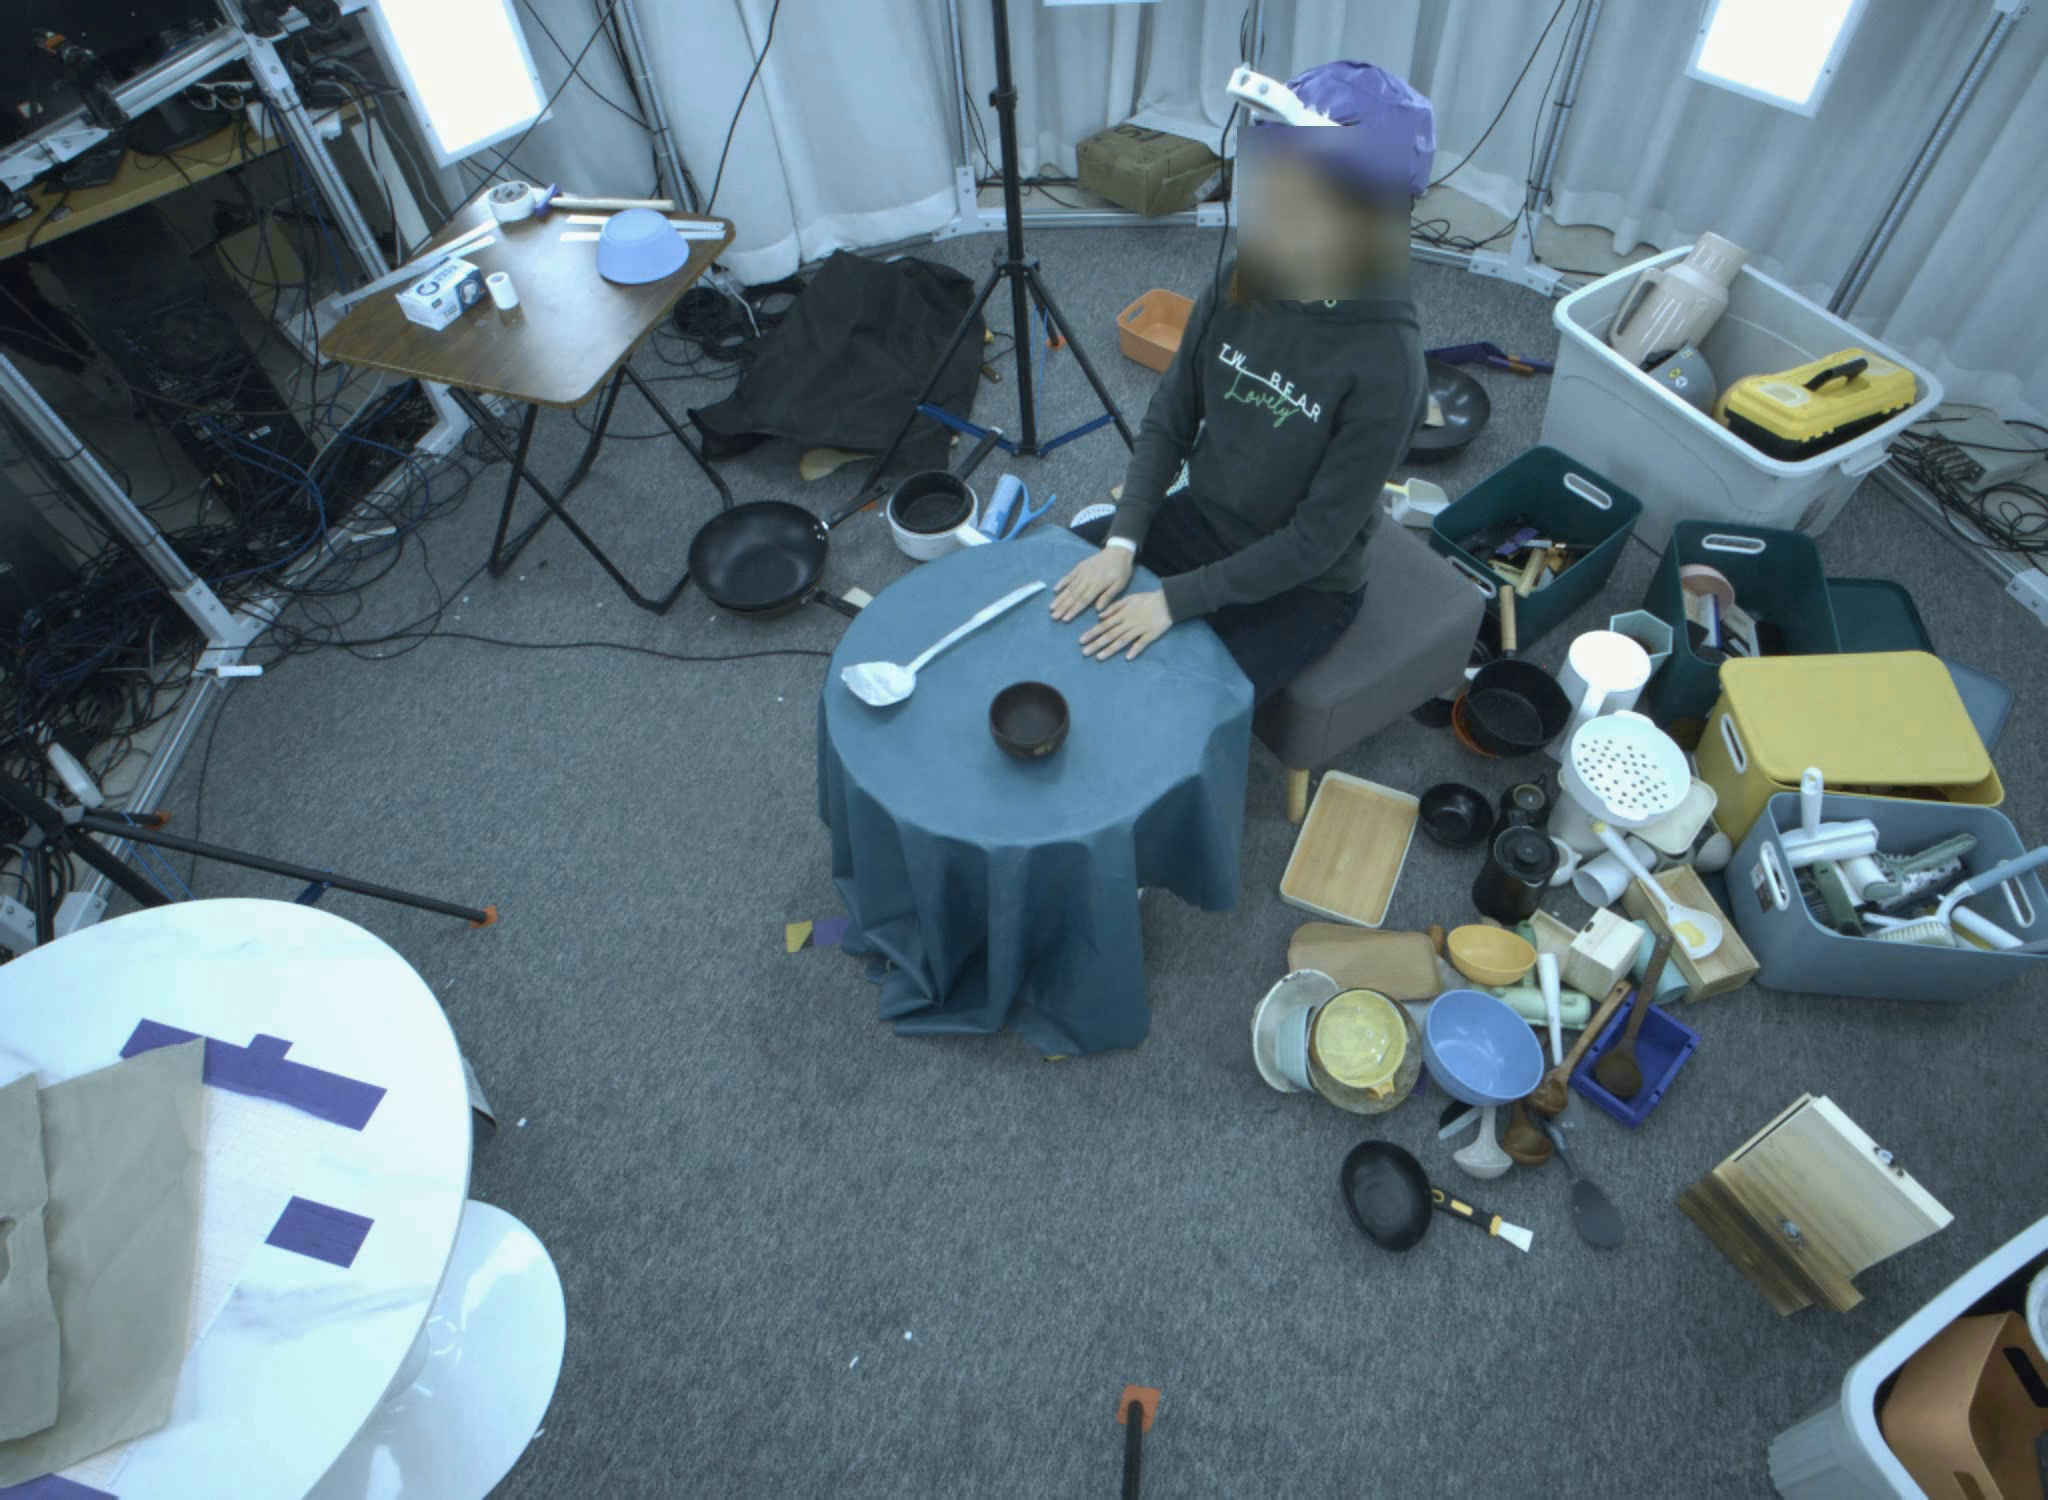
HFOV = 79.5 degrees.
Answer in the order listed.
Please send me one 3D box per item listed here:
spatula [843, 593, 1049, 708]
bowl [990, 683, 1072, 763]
[{"bbox_3d":[-0.111,-0.168,1.895,0.368,0.045,0.097,-35,59,-20],"label":"spatula"},{"bbox_3d":[0.011,-0.031,1.775,0.118,0.070,0.117,1,55,0],"label":"bowl"}]
